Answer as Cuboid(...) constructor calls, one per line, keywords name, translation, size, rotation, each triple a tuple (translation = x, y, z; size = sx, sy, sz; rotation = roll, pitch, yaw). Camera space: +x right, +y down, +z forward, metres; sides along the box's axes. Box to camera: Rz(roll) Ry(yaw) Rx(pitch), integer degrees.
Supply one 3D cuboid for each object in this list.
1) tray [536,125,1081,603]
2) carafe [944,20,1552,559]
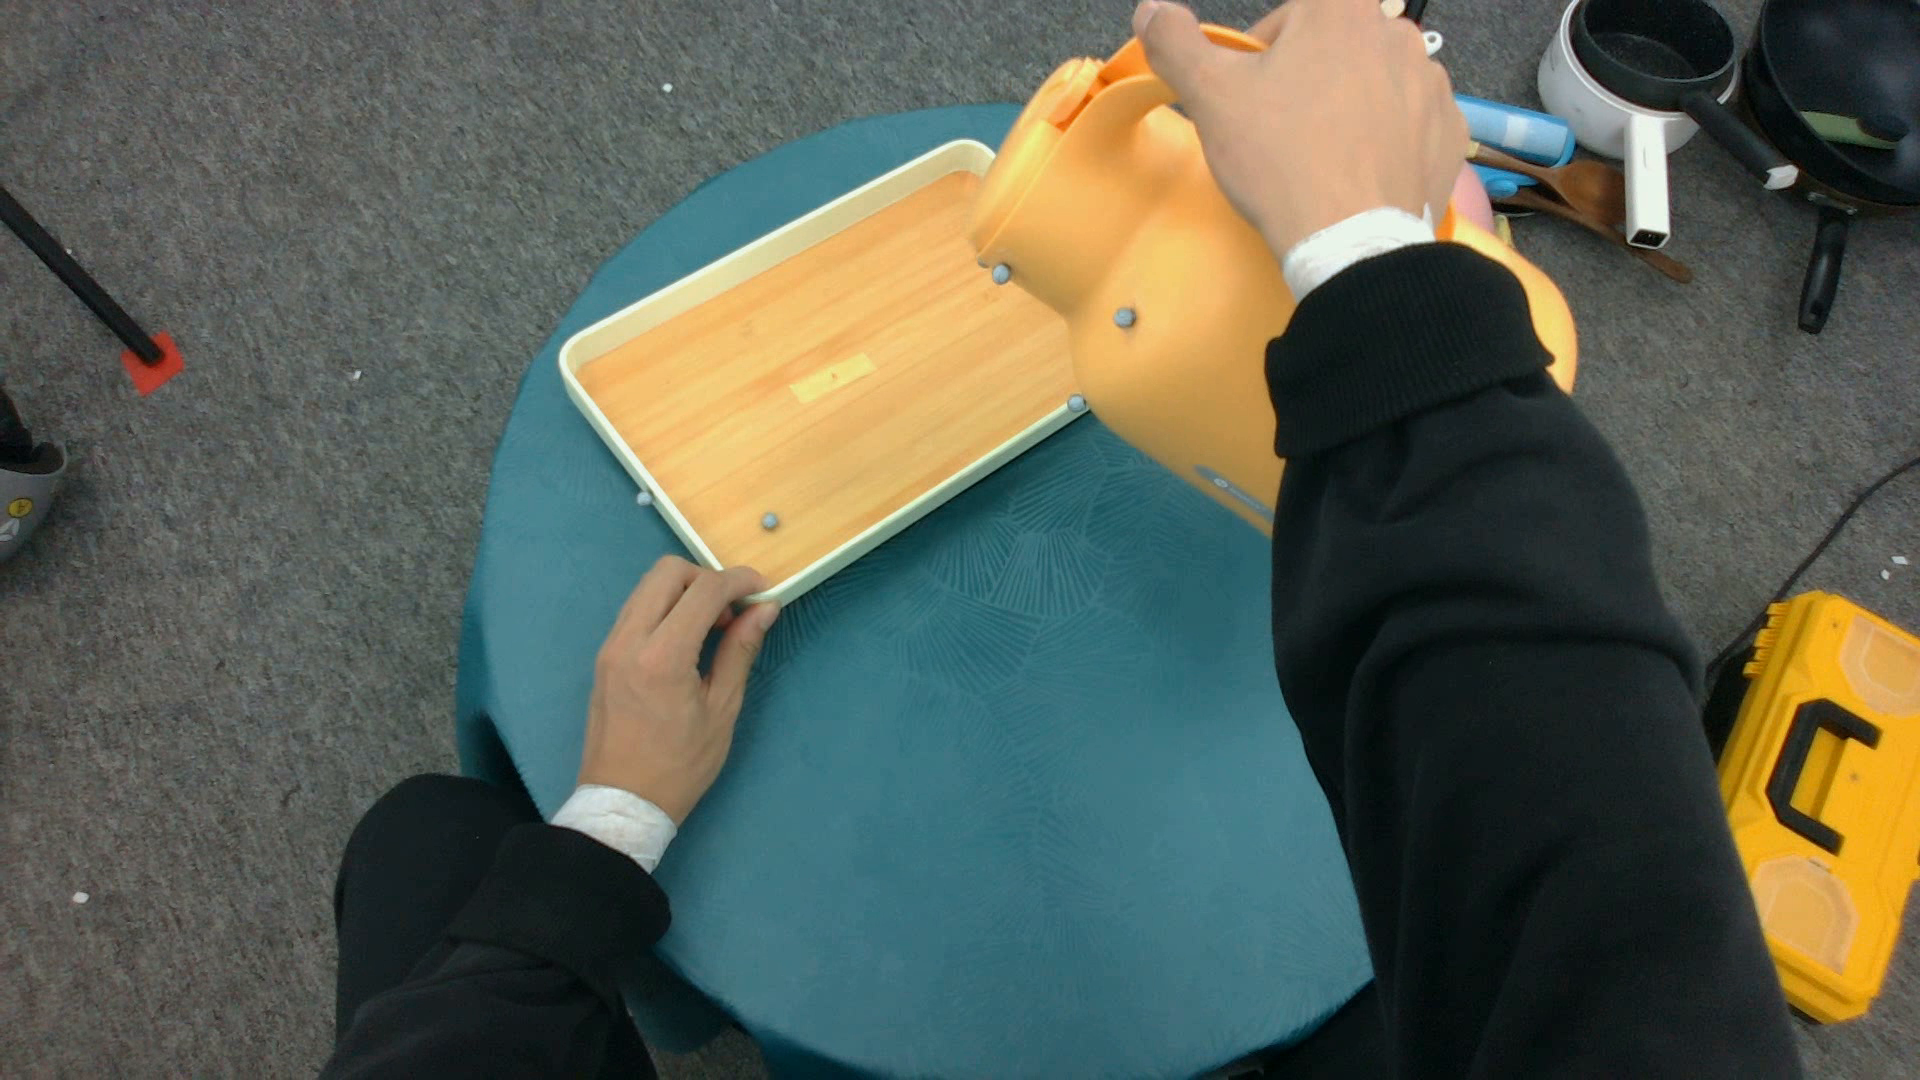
Cuboid(name="tray", translation=(-0.063, -0.111, 0.782), size=(0.301, 0.027, 0.192), rotation=(-34, 73, -23))
Cuboid(name="carafe", translation=(0.126, -0.115, 0.601), size=(0.260, 0.202, 0.164), rotation=(29, 73, -10))
